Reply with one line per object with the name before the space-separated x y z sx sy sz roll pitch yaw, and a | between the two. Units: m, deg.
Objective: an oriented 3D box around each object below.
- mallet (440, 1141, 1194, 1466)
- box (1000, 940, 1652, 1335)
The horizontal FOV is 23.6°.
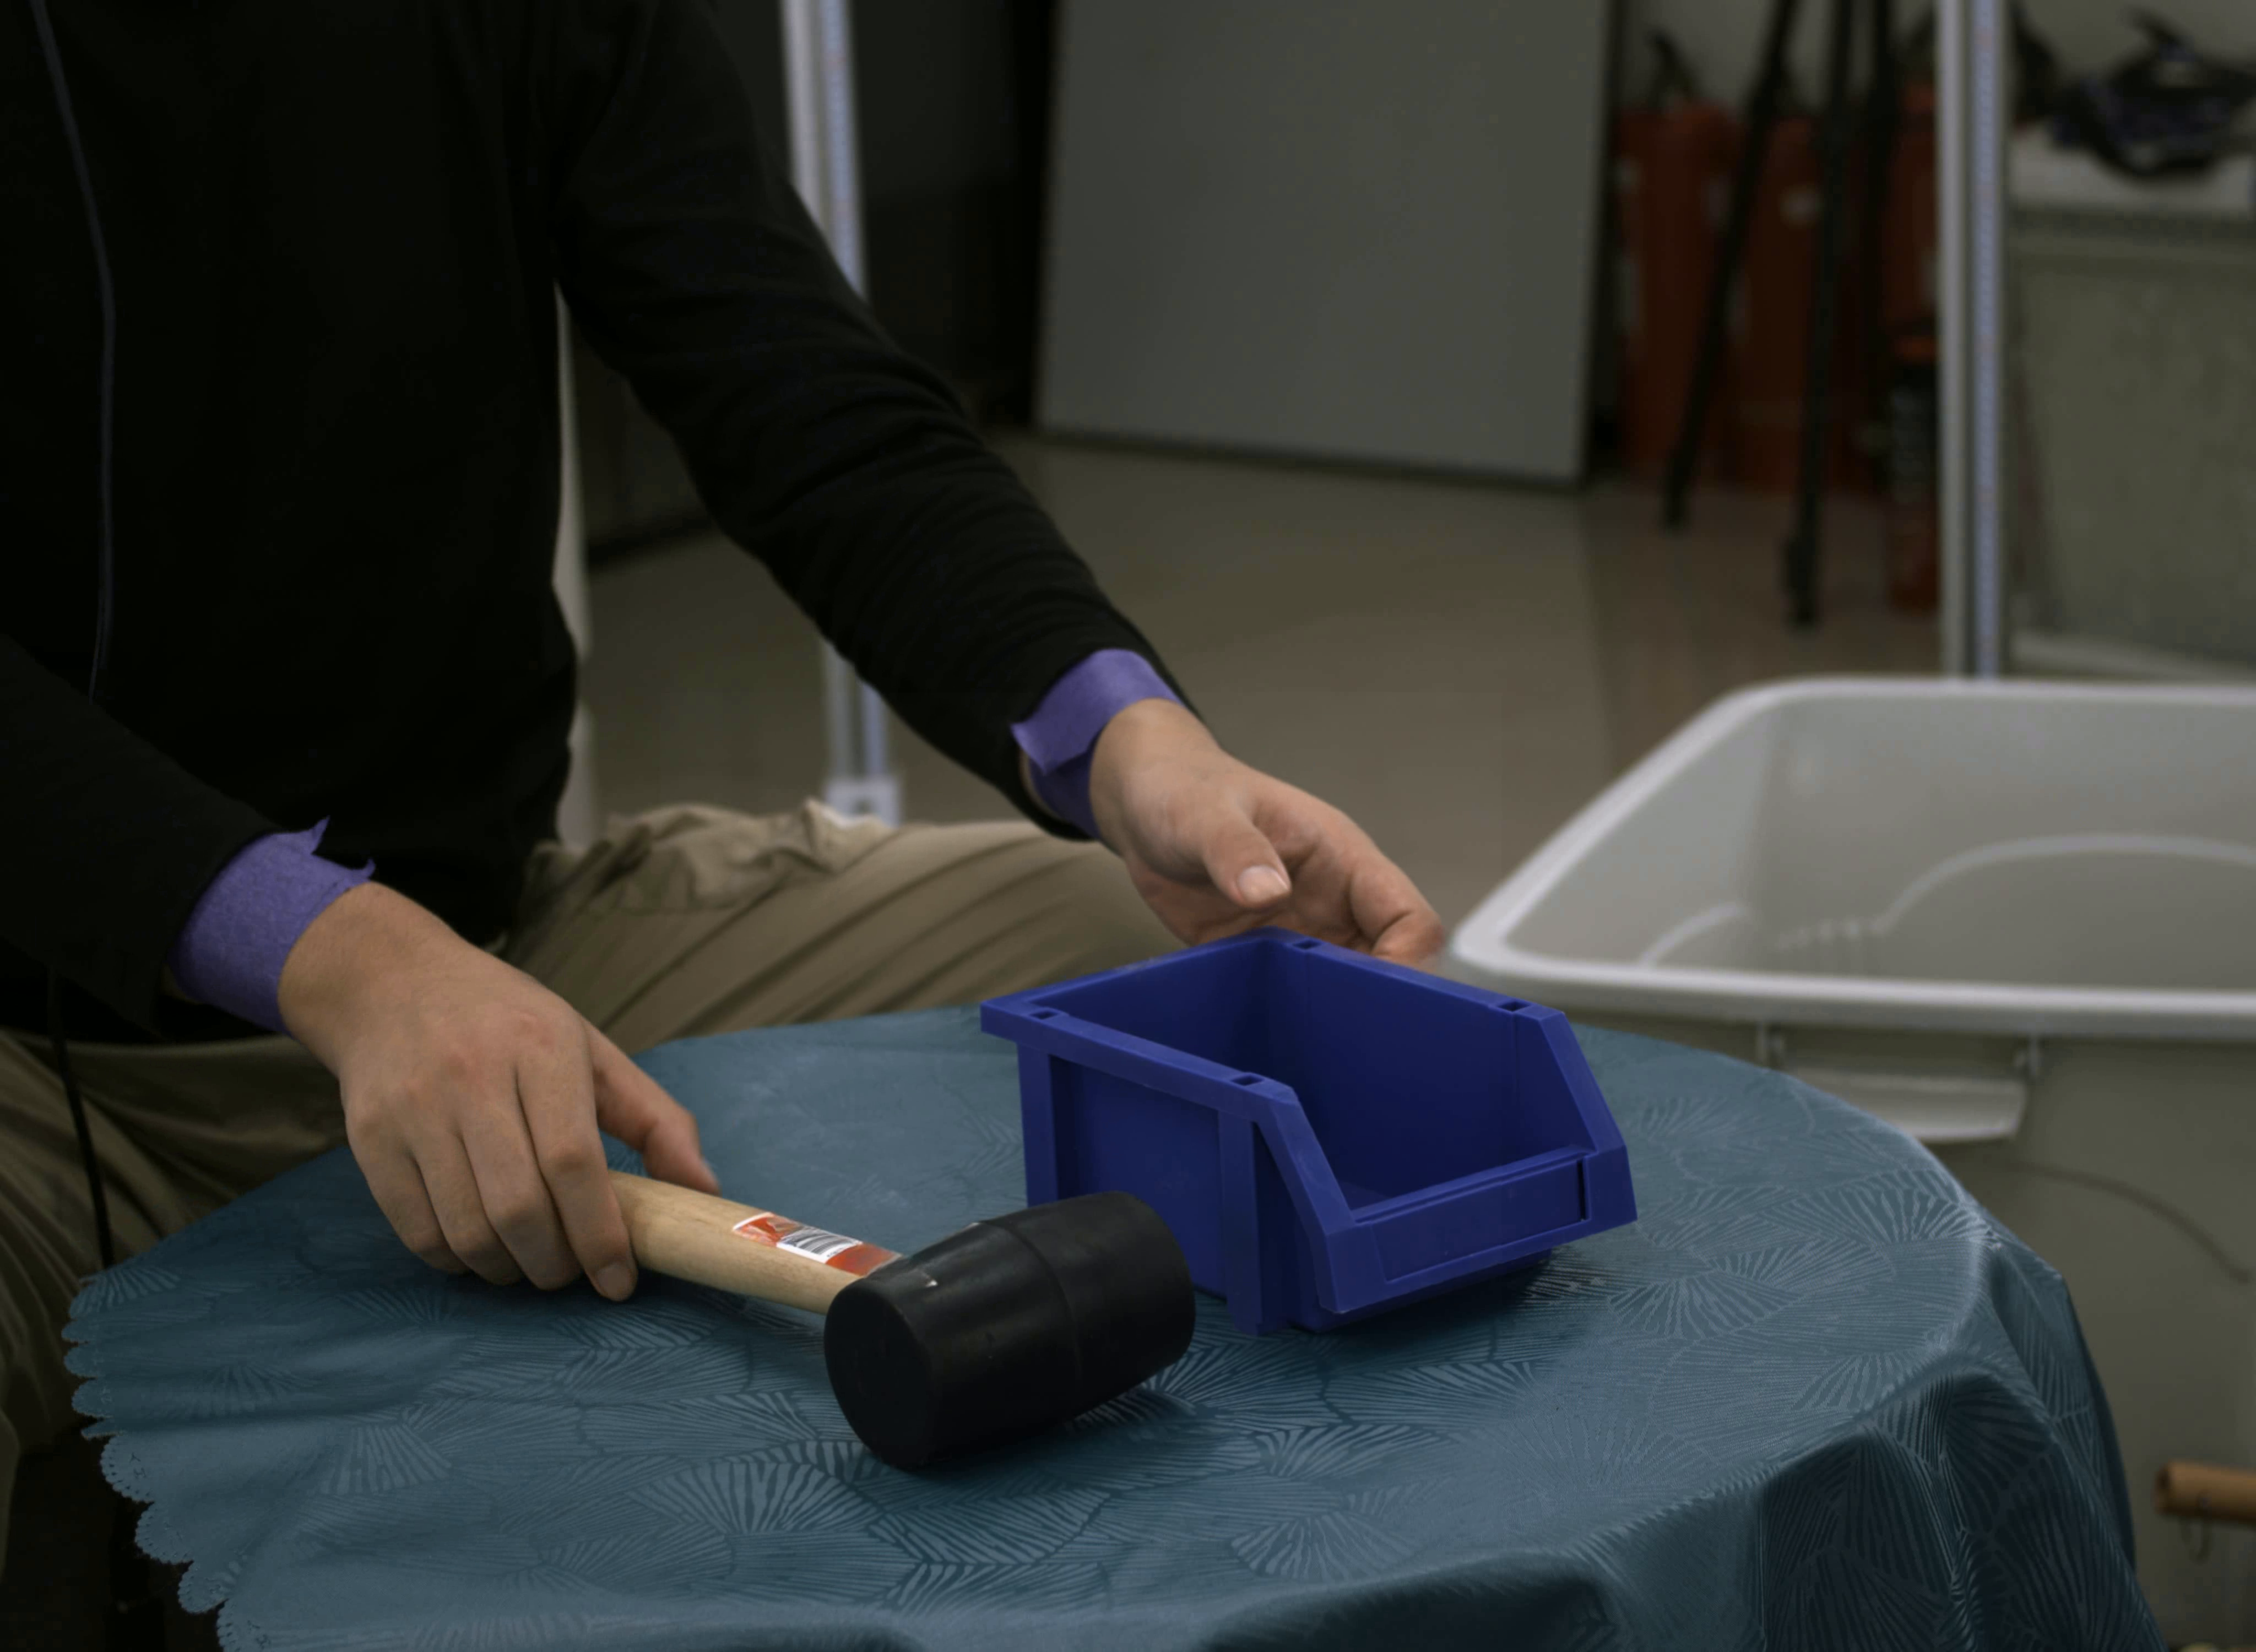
mallet | -0.117 0.126 1.667 0.099 0.065 0.342 -13 15 -34
box | 0.062 0.097 1.681 0.122 0.083 0.181 -13 13 -33
